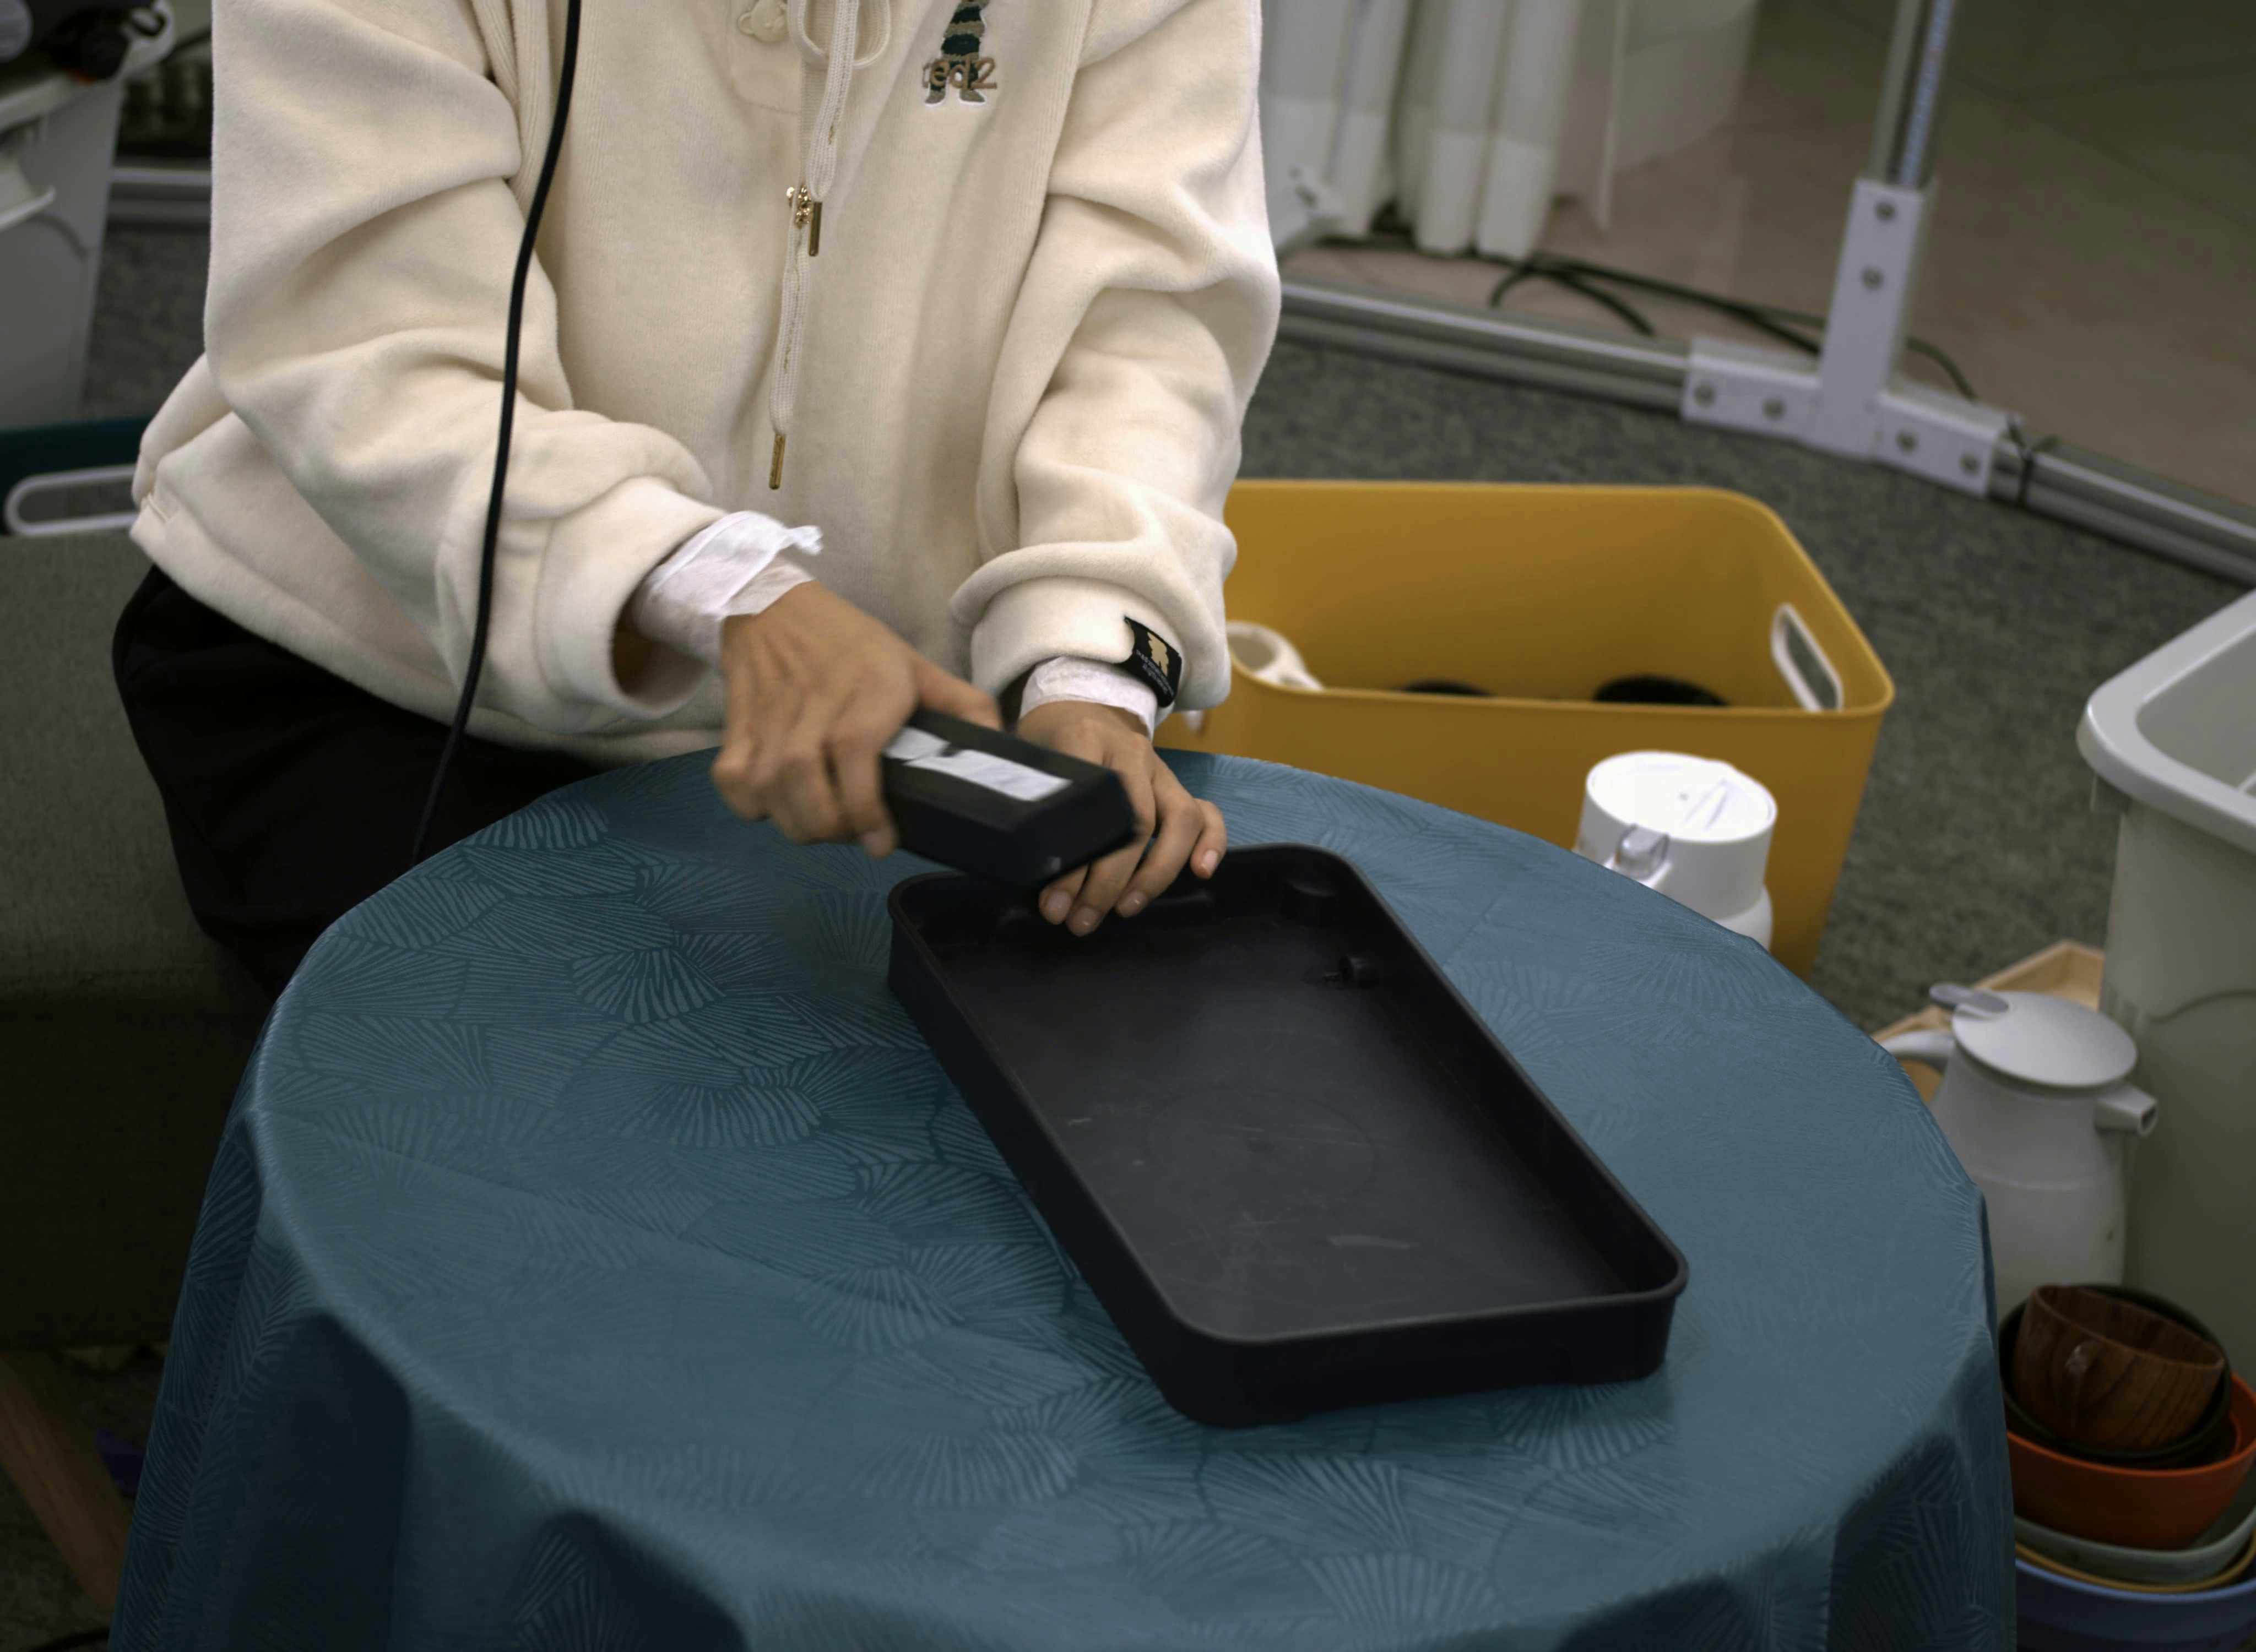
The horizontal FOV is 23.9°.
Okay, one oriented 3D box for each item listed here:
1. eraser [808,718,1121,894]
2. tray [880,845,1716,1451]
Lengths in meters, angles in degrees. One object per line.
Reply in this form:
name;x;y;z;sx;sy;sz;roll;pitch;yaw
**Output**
eraser;-0.057;-0.008;1.857;0.053;0.030;0.126;-24;23;-28
tray;0.050;0.103;1.813;0.183;0.037;0.321;-6;30;-24
